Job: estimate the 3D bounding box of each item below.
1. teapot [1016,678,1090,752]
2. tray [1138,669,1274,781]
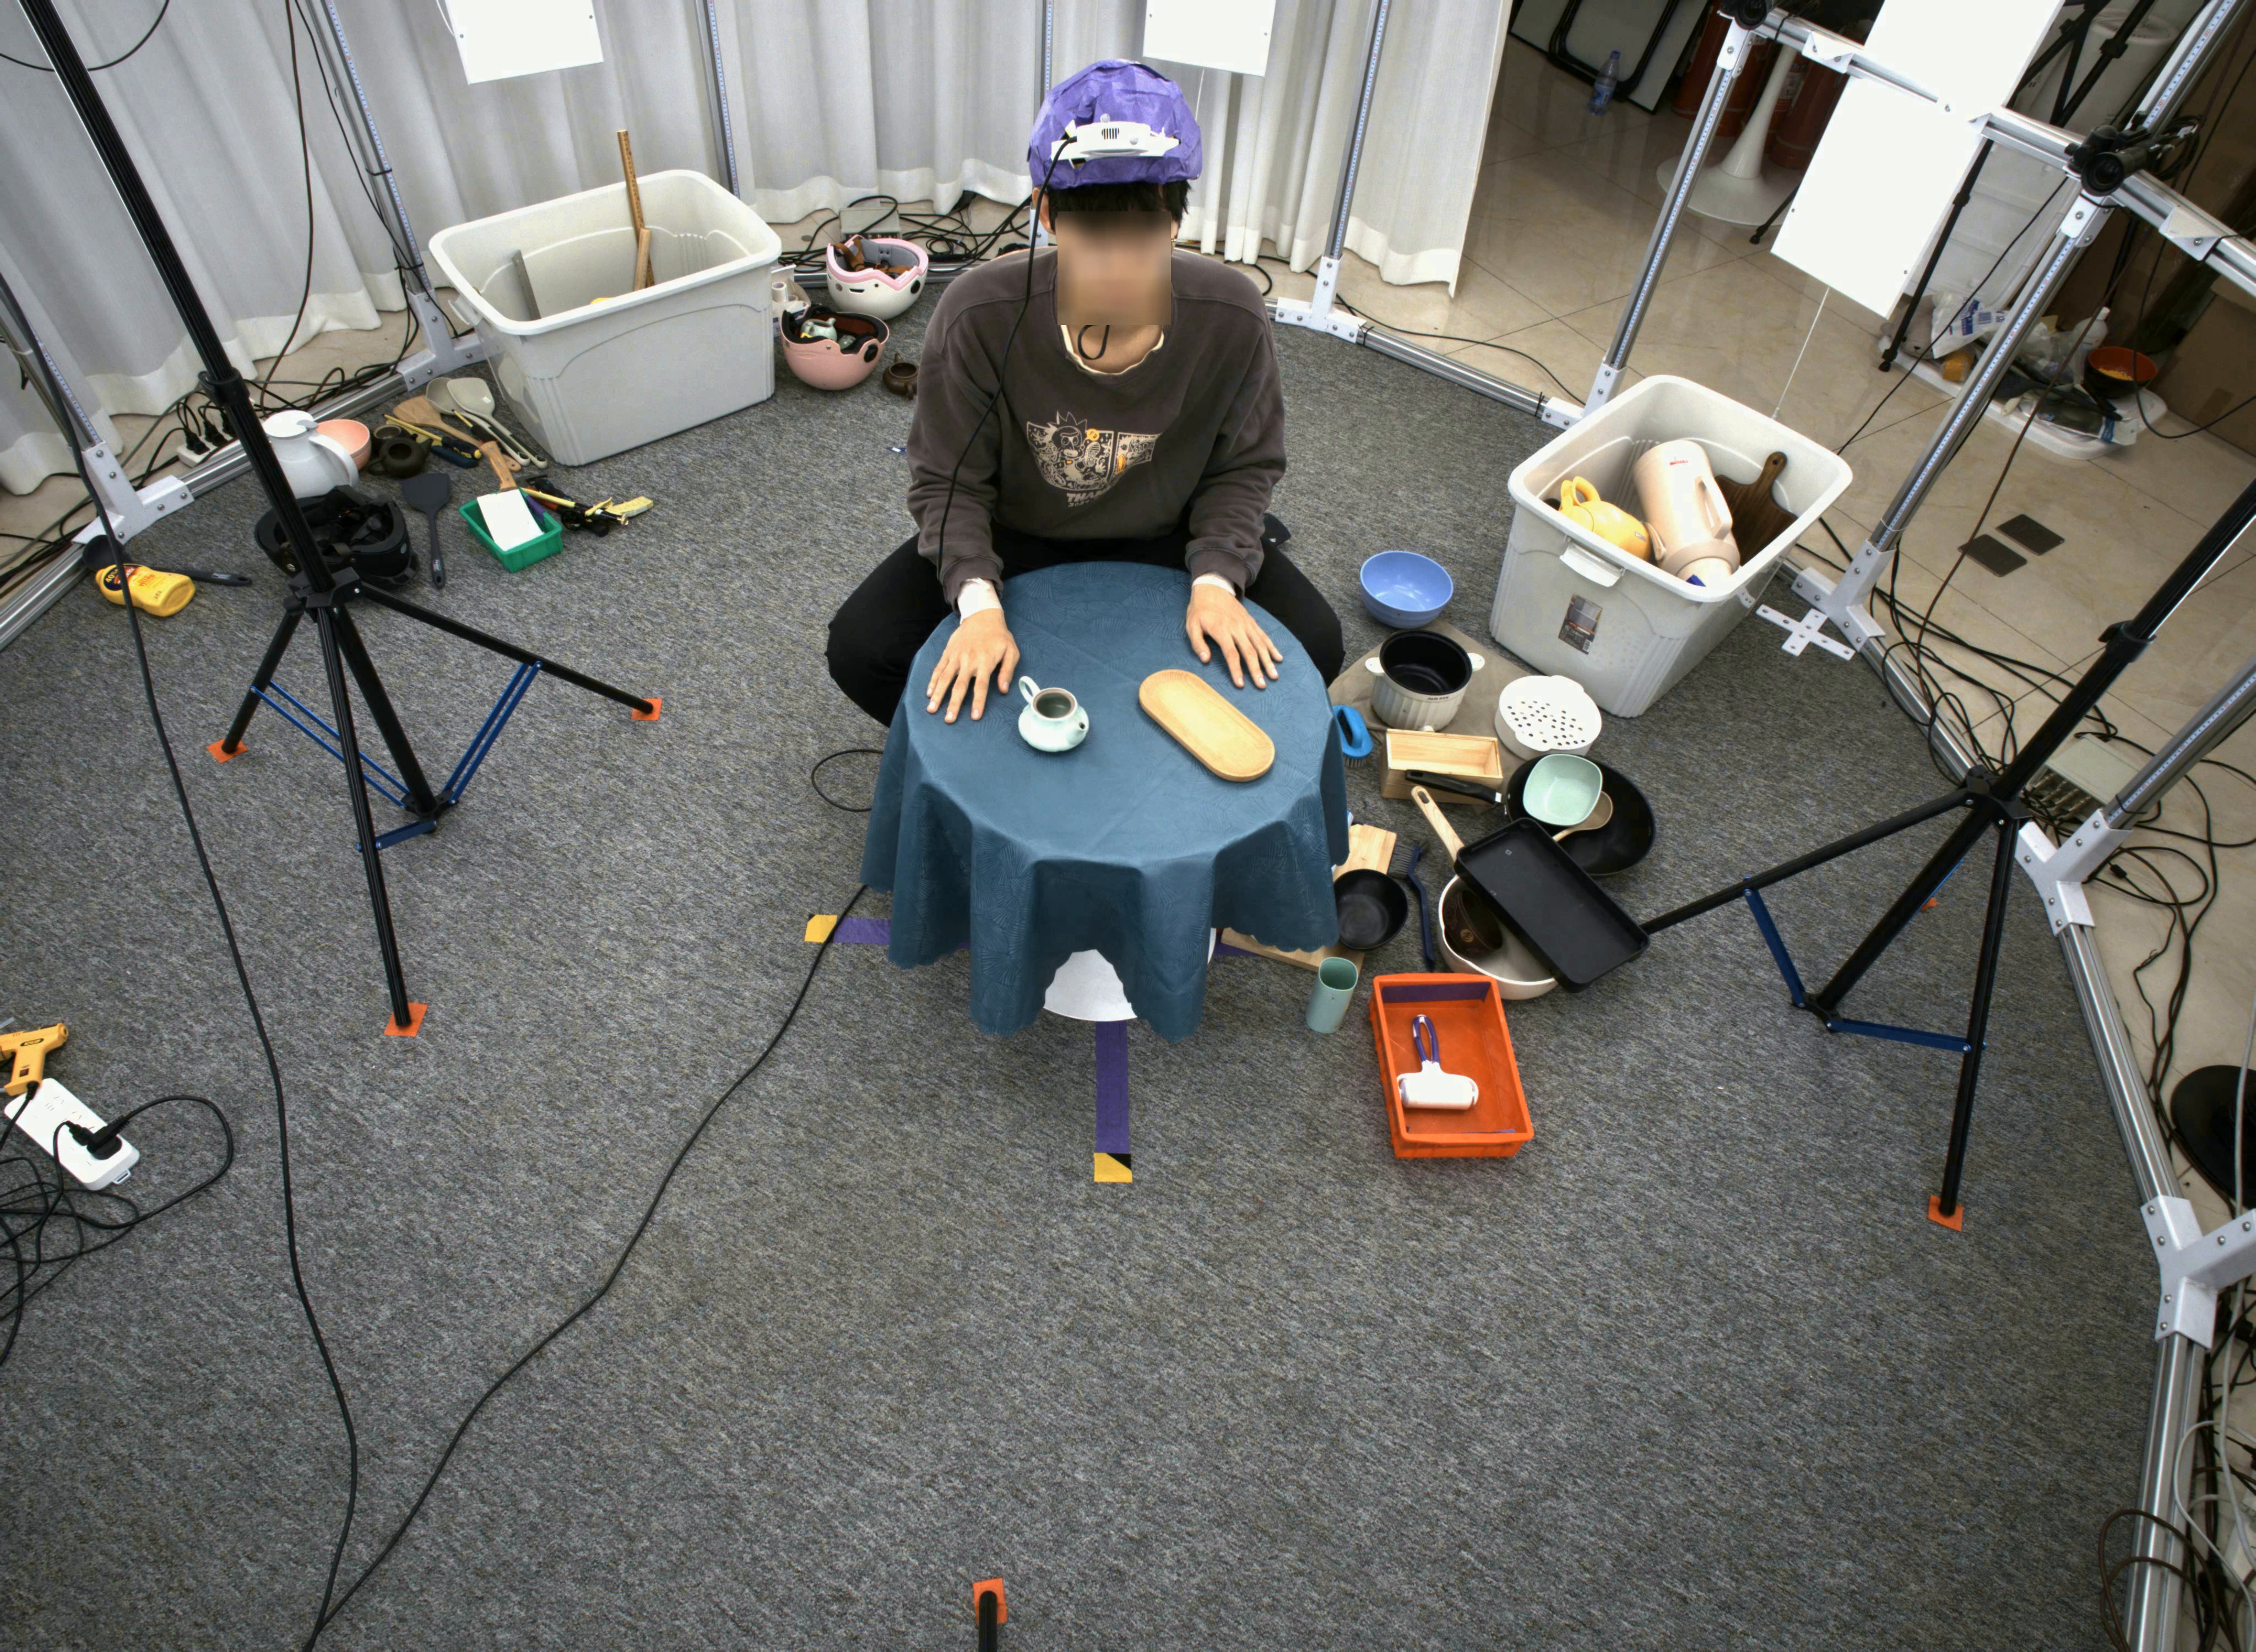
[{"bbox_3d":[-0.104,-0.151,1.752,0.139,0.060,0.097,38,58,26],"label":"teapot"},{"bbox_3d":[0.106,-0.142,1.785,0.102,0.020,0.235,-31,56,-27],"label":"tray"}]
